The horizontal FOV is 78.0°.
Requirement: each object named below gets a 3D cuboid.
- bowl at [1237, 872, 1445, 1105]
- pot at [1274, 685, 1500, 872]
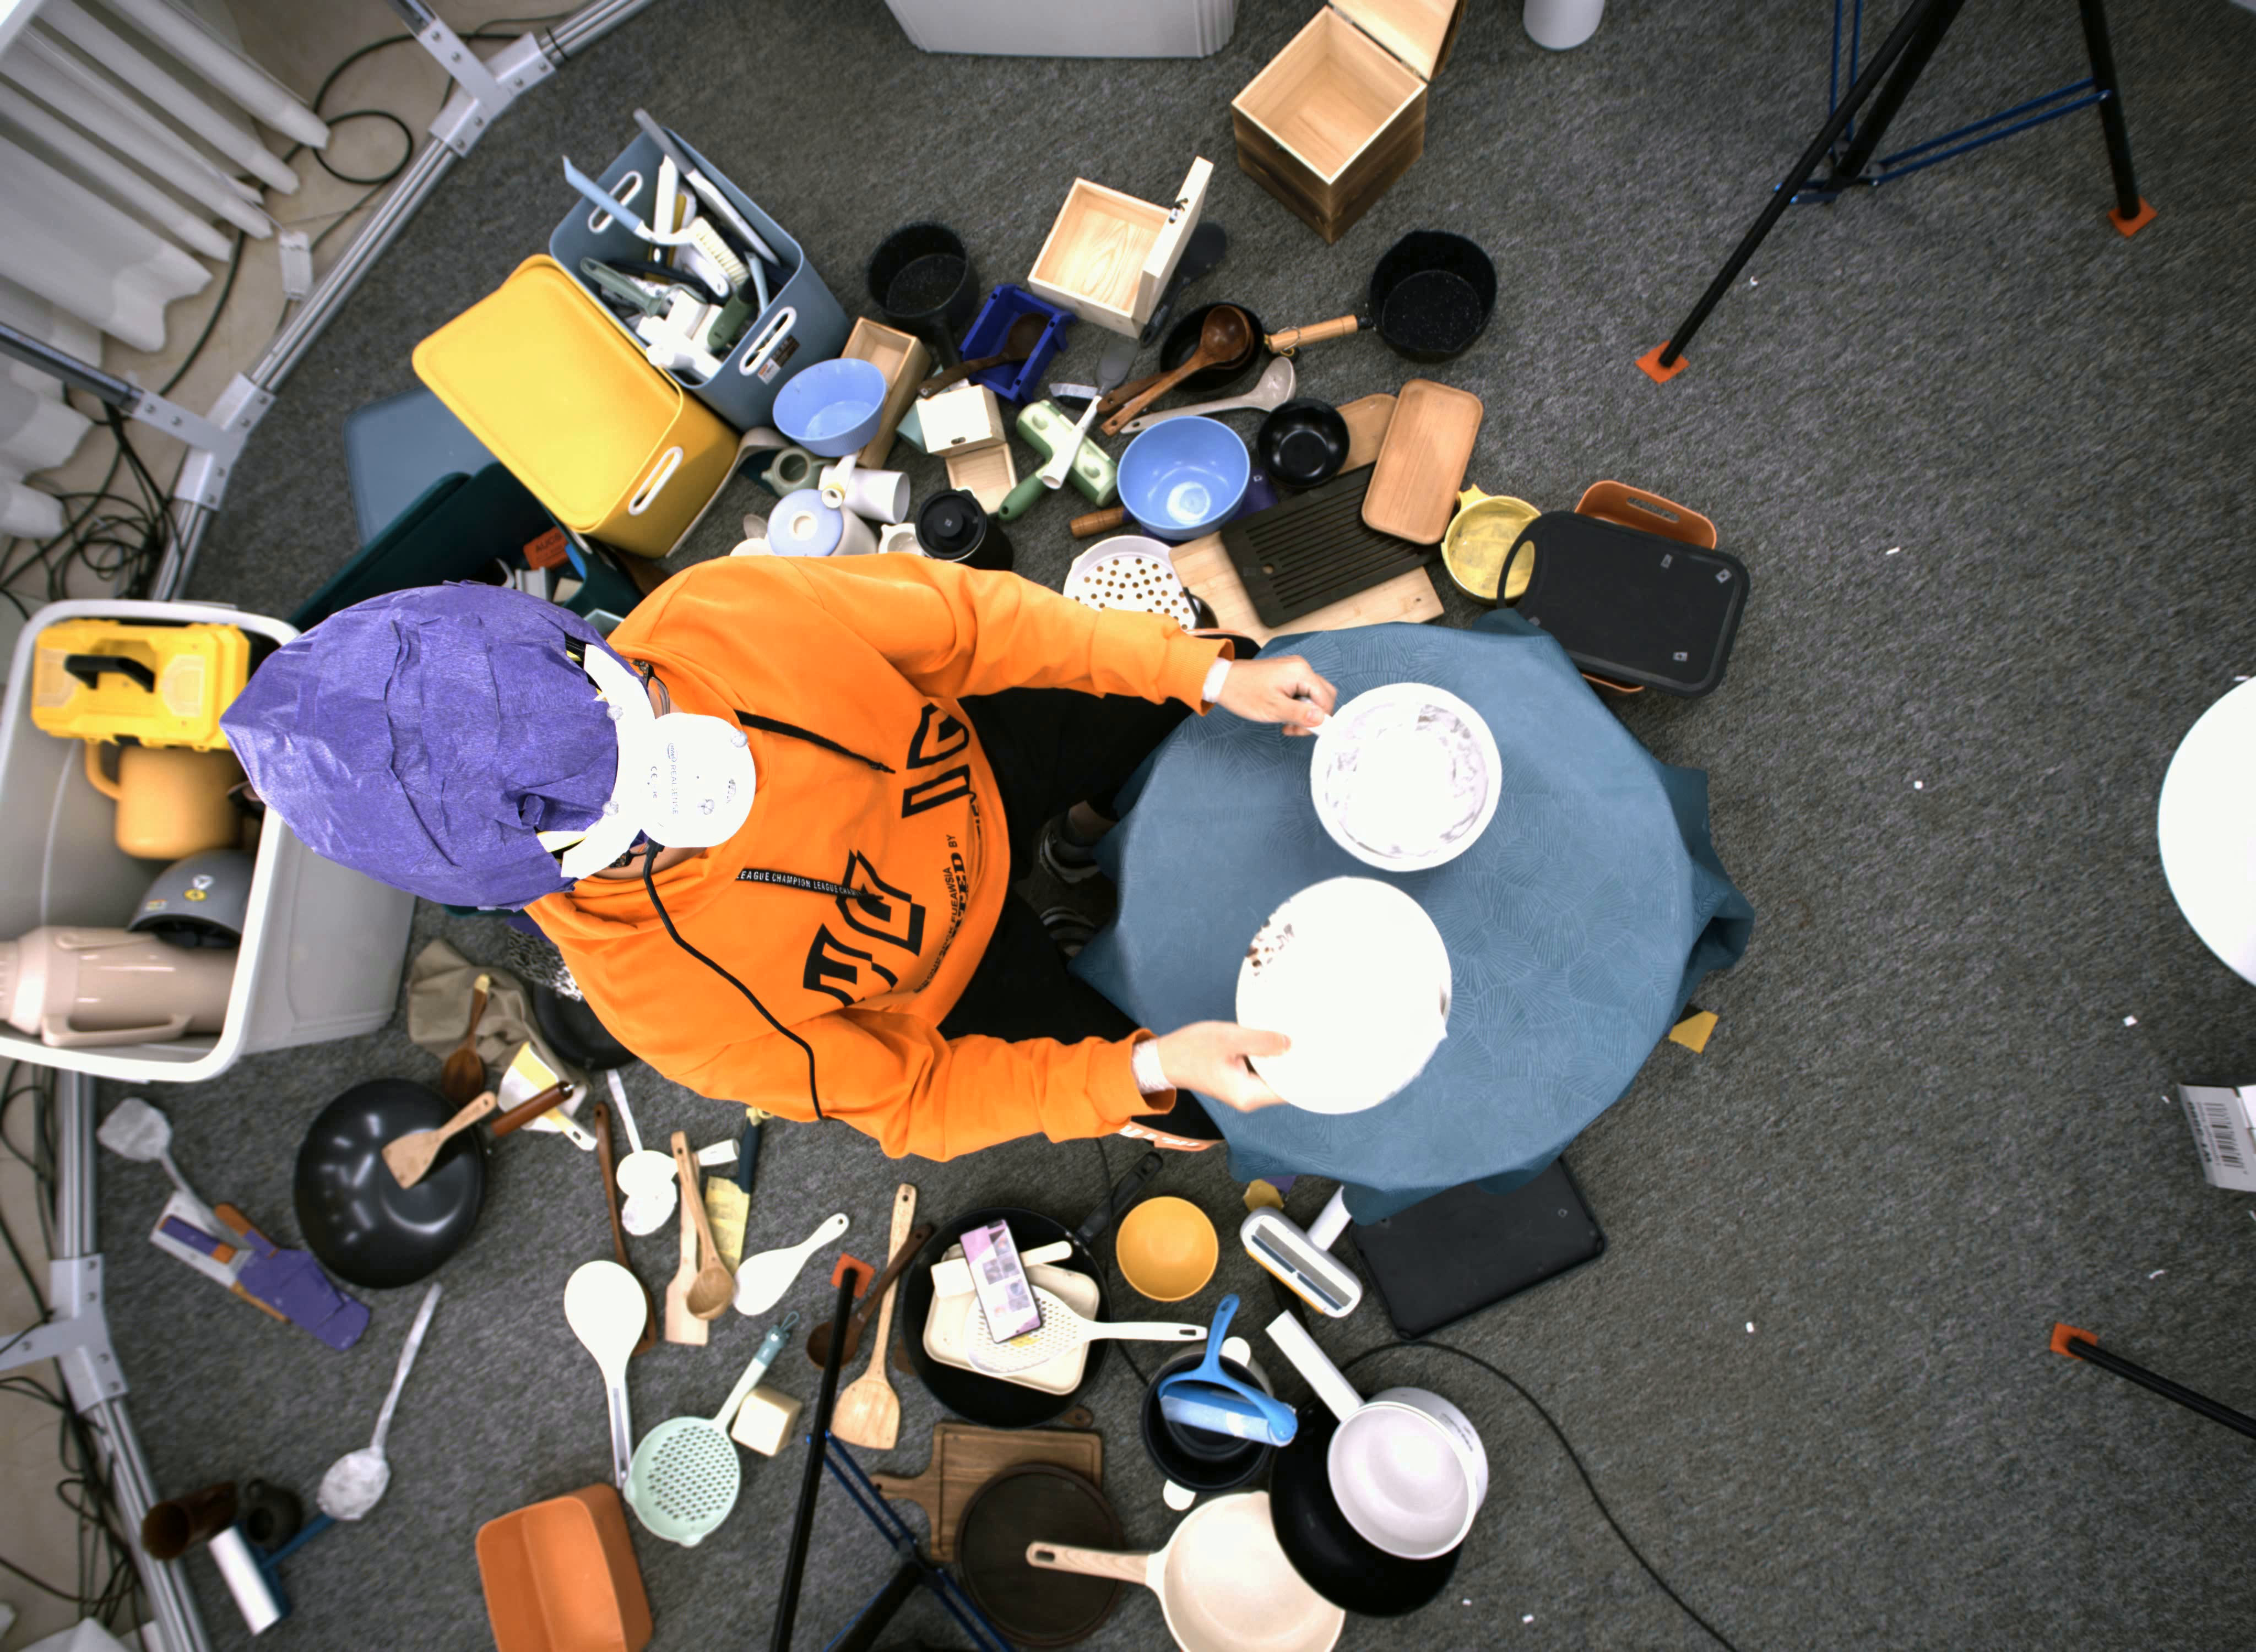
[{"bbox_3d":[0.200,0.146,1.209,0.207,0.078,0.200,-17,64,36],"label":"bowl"},{"bbox_3d":[0.244,-0.061,1.355,0.233,0.136,0.180,33,97,7],"label":"pot"}]
